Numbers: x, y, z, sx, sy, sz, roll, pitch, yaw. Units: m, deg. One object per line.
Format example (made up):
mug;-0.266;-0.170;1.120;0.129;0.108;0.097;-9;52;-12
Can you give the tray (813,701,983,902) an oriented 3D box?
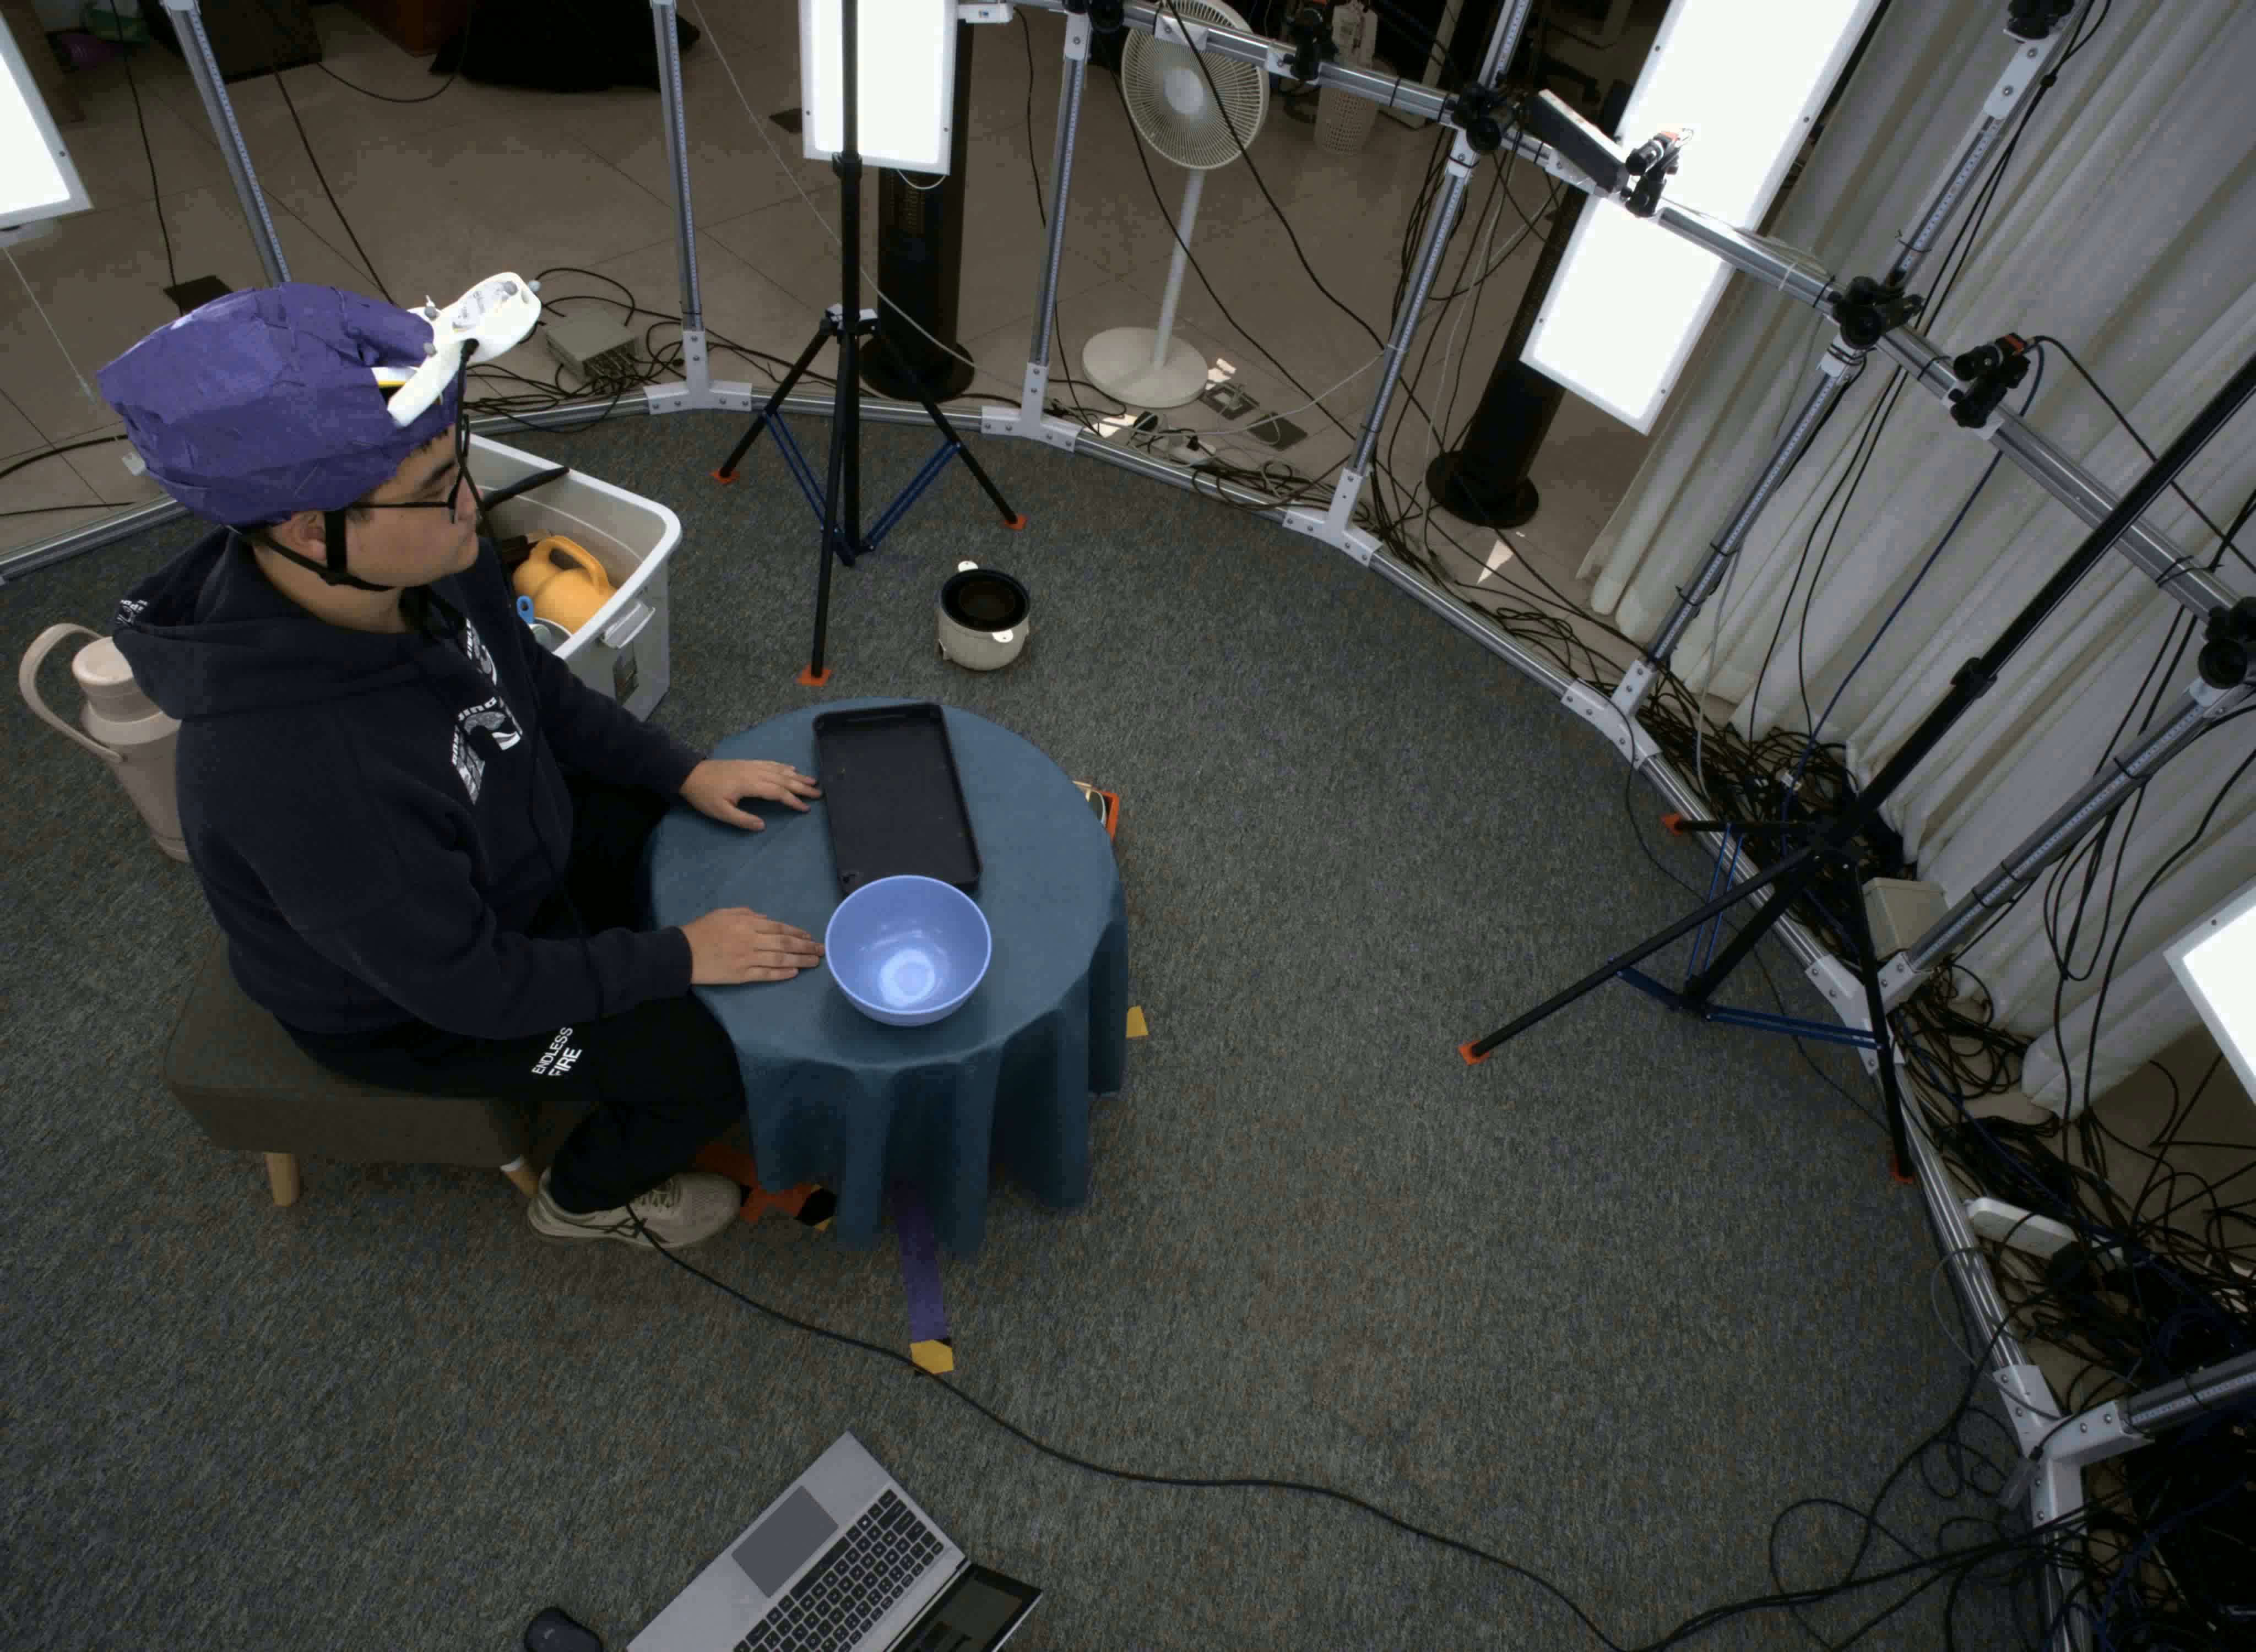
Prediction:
tray;-0.313;-0.034;1.749;0.185;0.038;0.310;-7;56;-18

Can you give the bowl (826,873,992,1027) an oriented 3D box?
bowl;-0.265;0.163;1.575;0.196;0.097;0.193;8;54;-9
